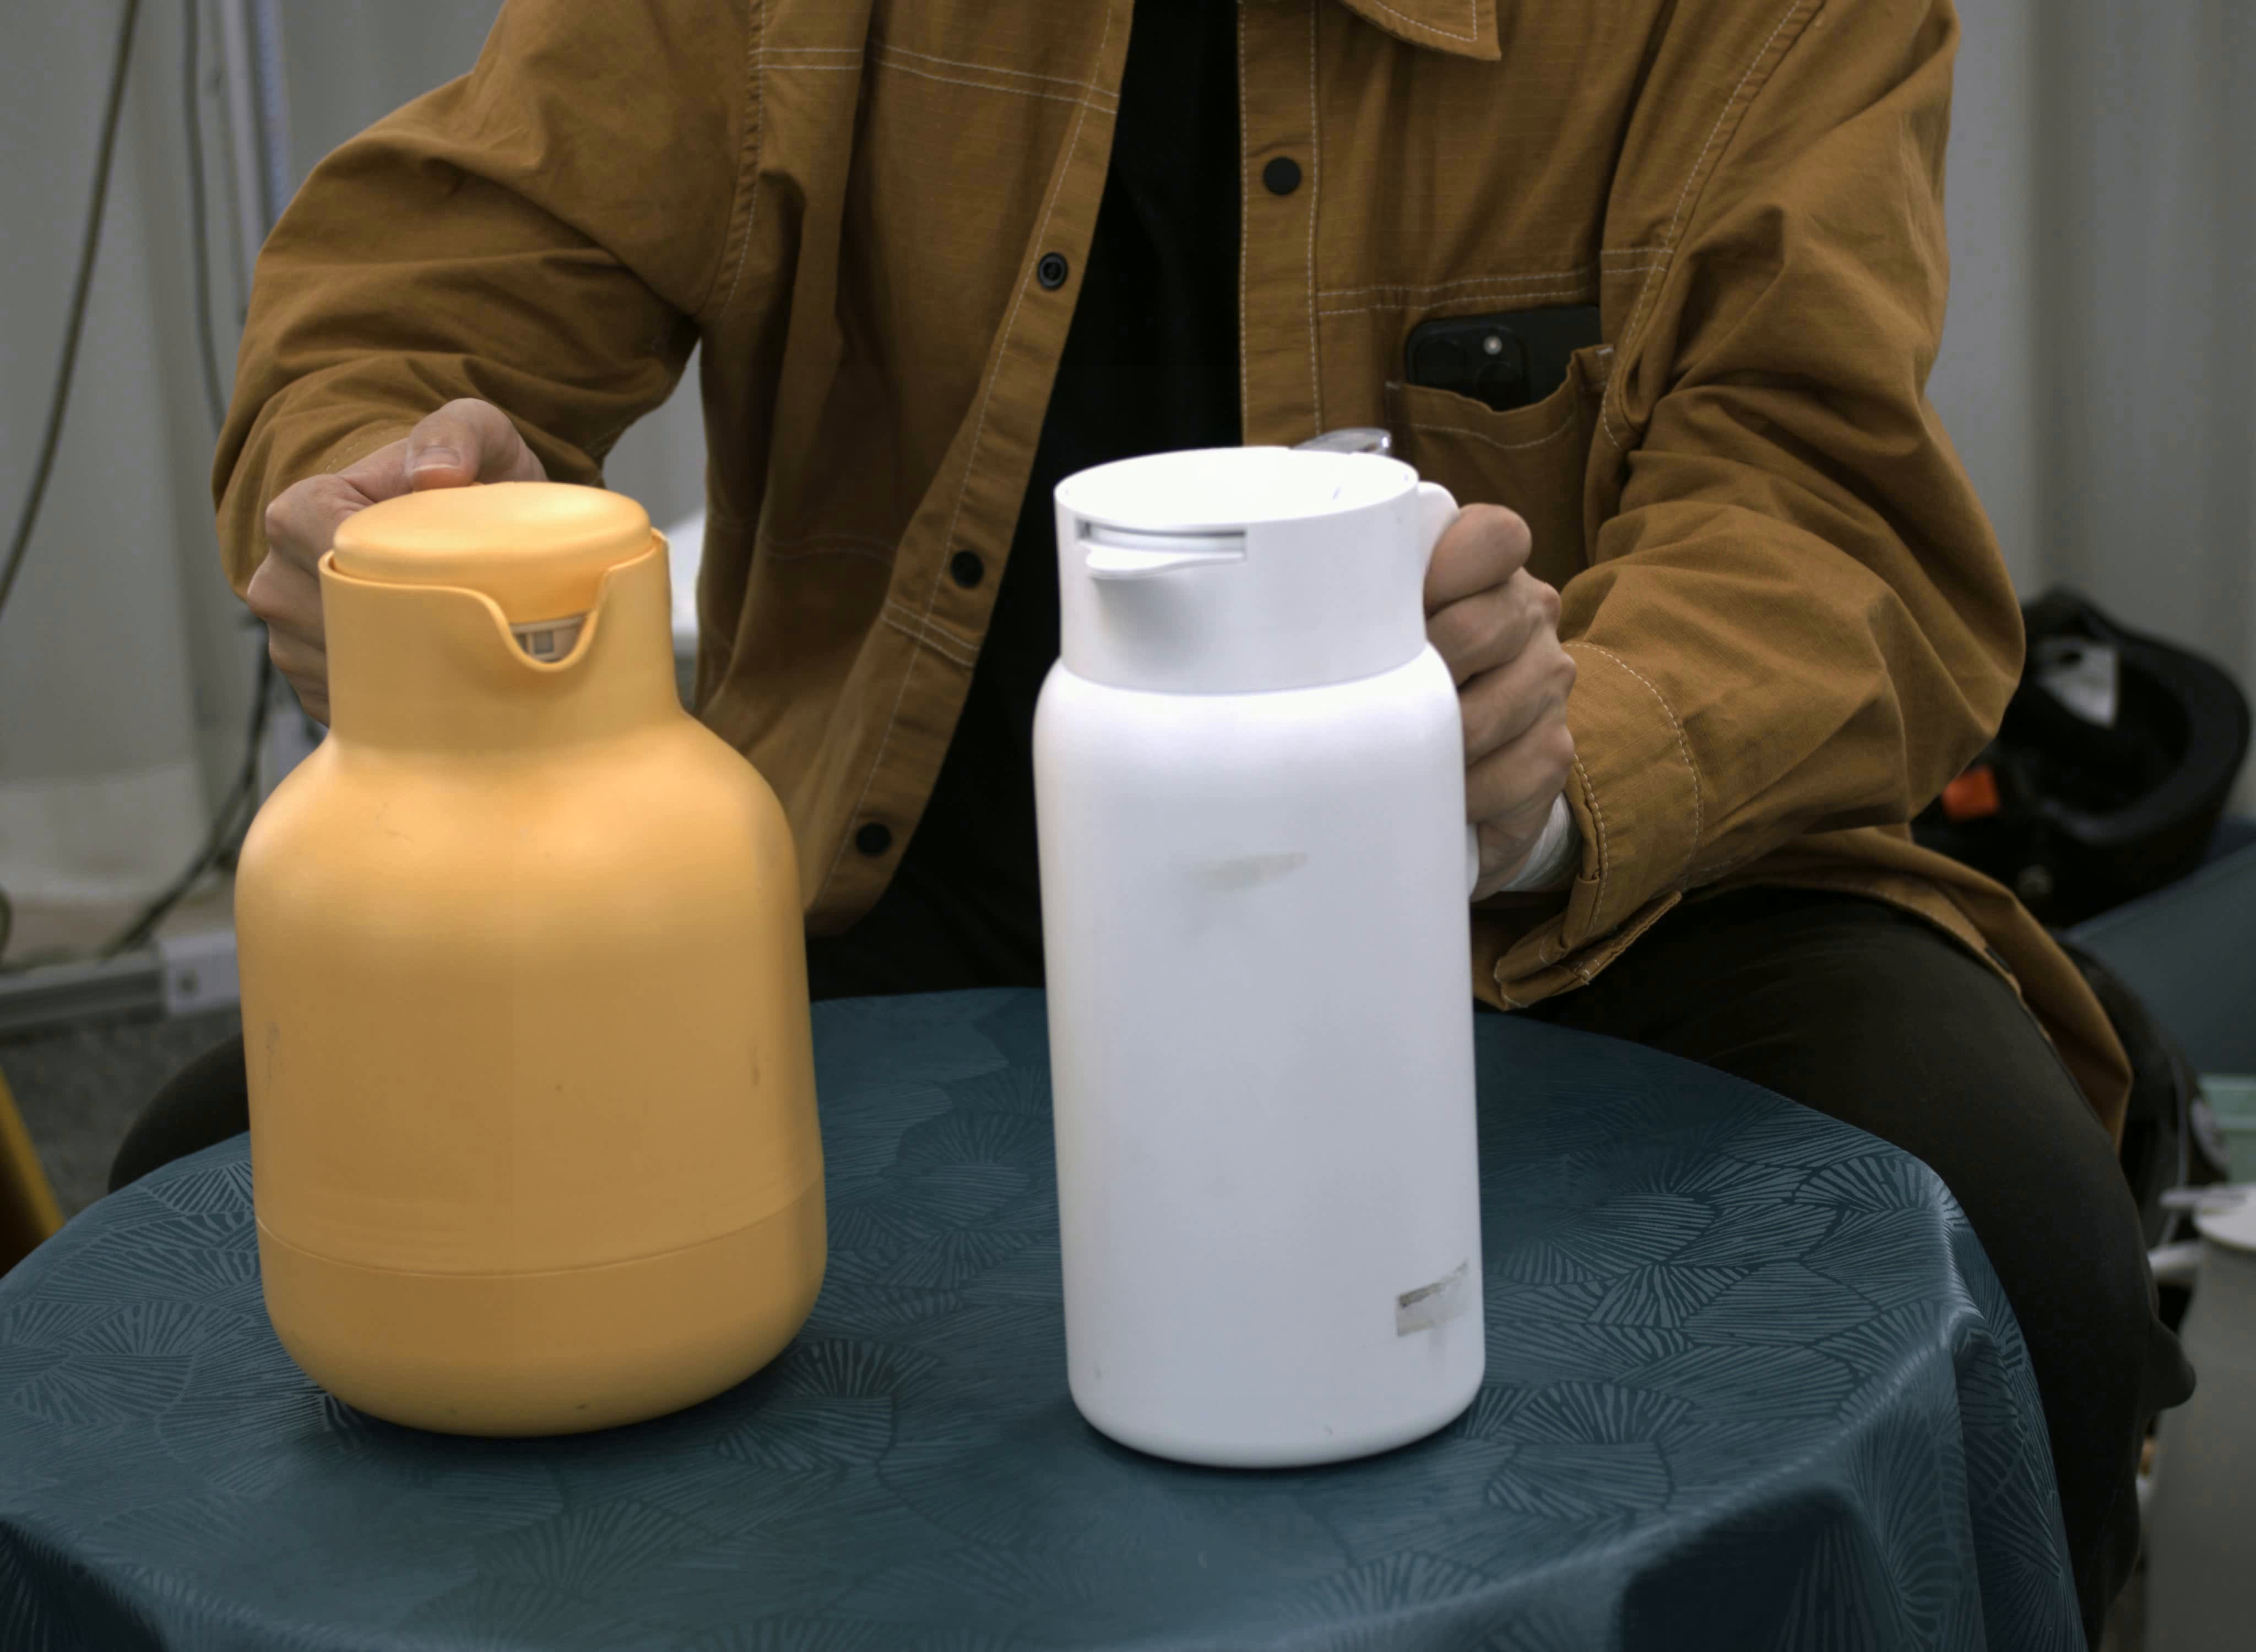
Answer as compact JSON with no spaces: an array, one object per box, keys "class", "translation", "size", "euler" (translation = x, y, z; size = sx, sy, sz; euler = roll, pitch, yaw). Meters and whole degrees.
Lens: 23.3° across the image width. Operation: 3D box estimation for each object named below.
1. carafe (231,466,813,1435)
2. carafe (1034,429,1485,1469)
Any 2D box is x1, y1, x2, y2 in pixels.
[{"class":"carafe","translation":[-0.177,0.027,1.572],"size":[0.162,0.259,0.204],"euler":[-4,15,-15]},{"class":"carafe","translation":[0.043,0.029,1.512],"size":[0.124,0.268,0.173],"euler":[3,15,31]}]
